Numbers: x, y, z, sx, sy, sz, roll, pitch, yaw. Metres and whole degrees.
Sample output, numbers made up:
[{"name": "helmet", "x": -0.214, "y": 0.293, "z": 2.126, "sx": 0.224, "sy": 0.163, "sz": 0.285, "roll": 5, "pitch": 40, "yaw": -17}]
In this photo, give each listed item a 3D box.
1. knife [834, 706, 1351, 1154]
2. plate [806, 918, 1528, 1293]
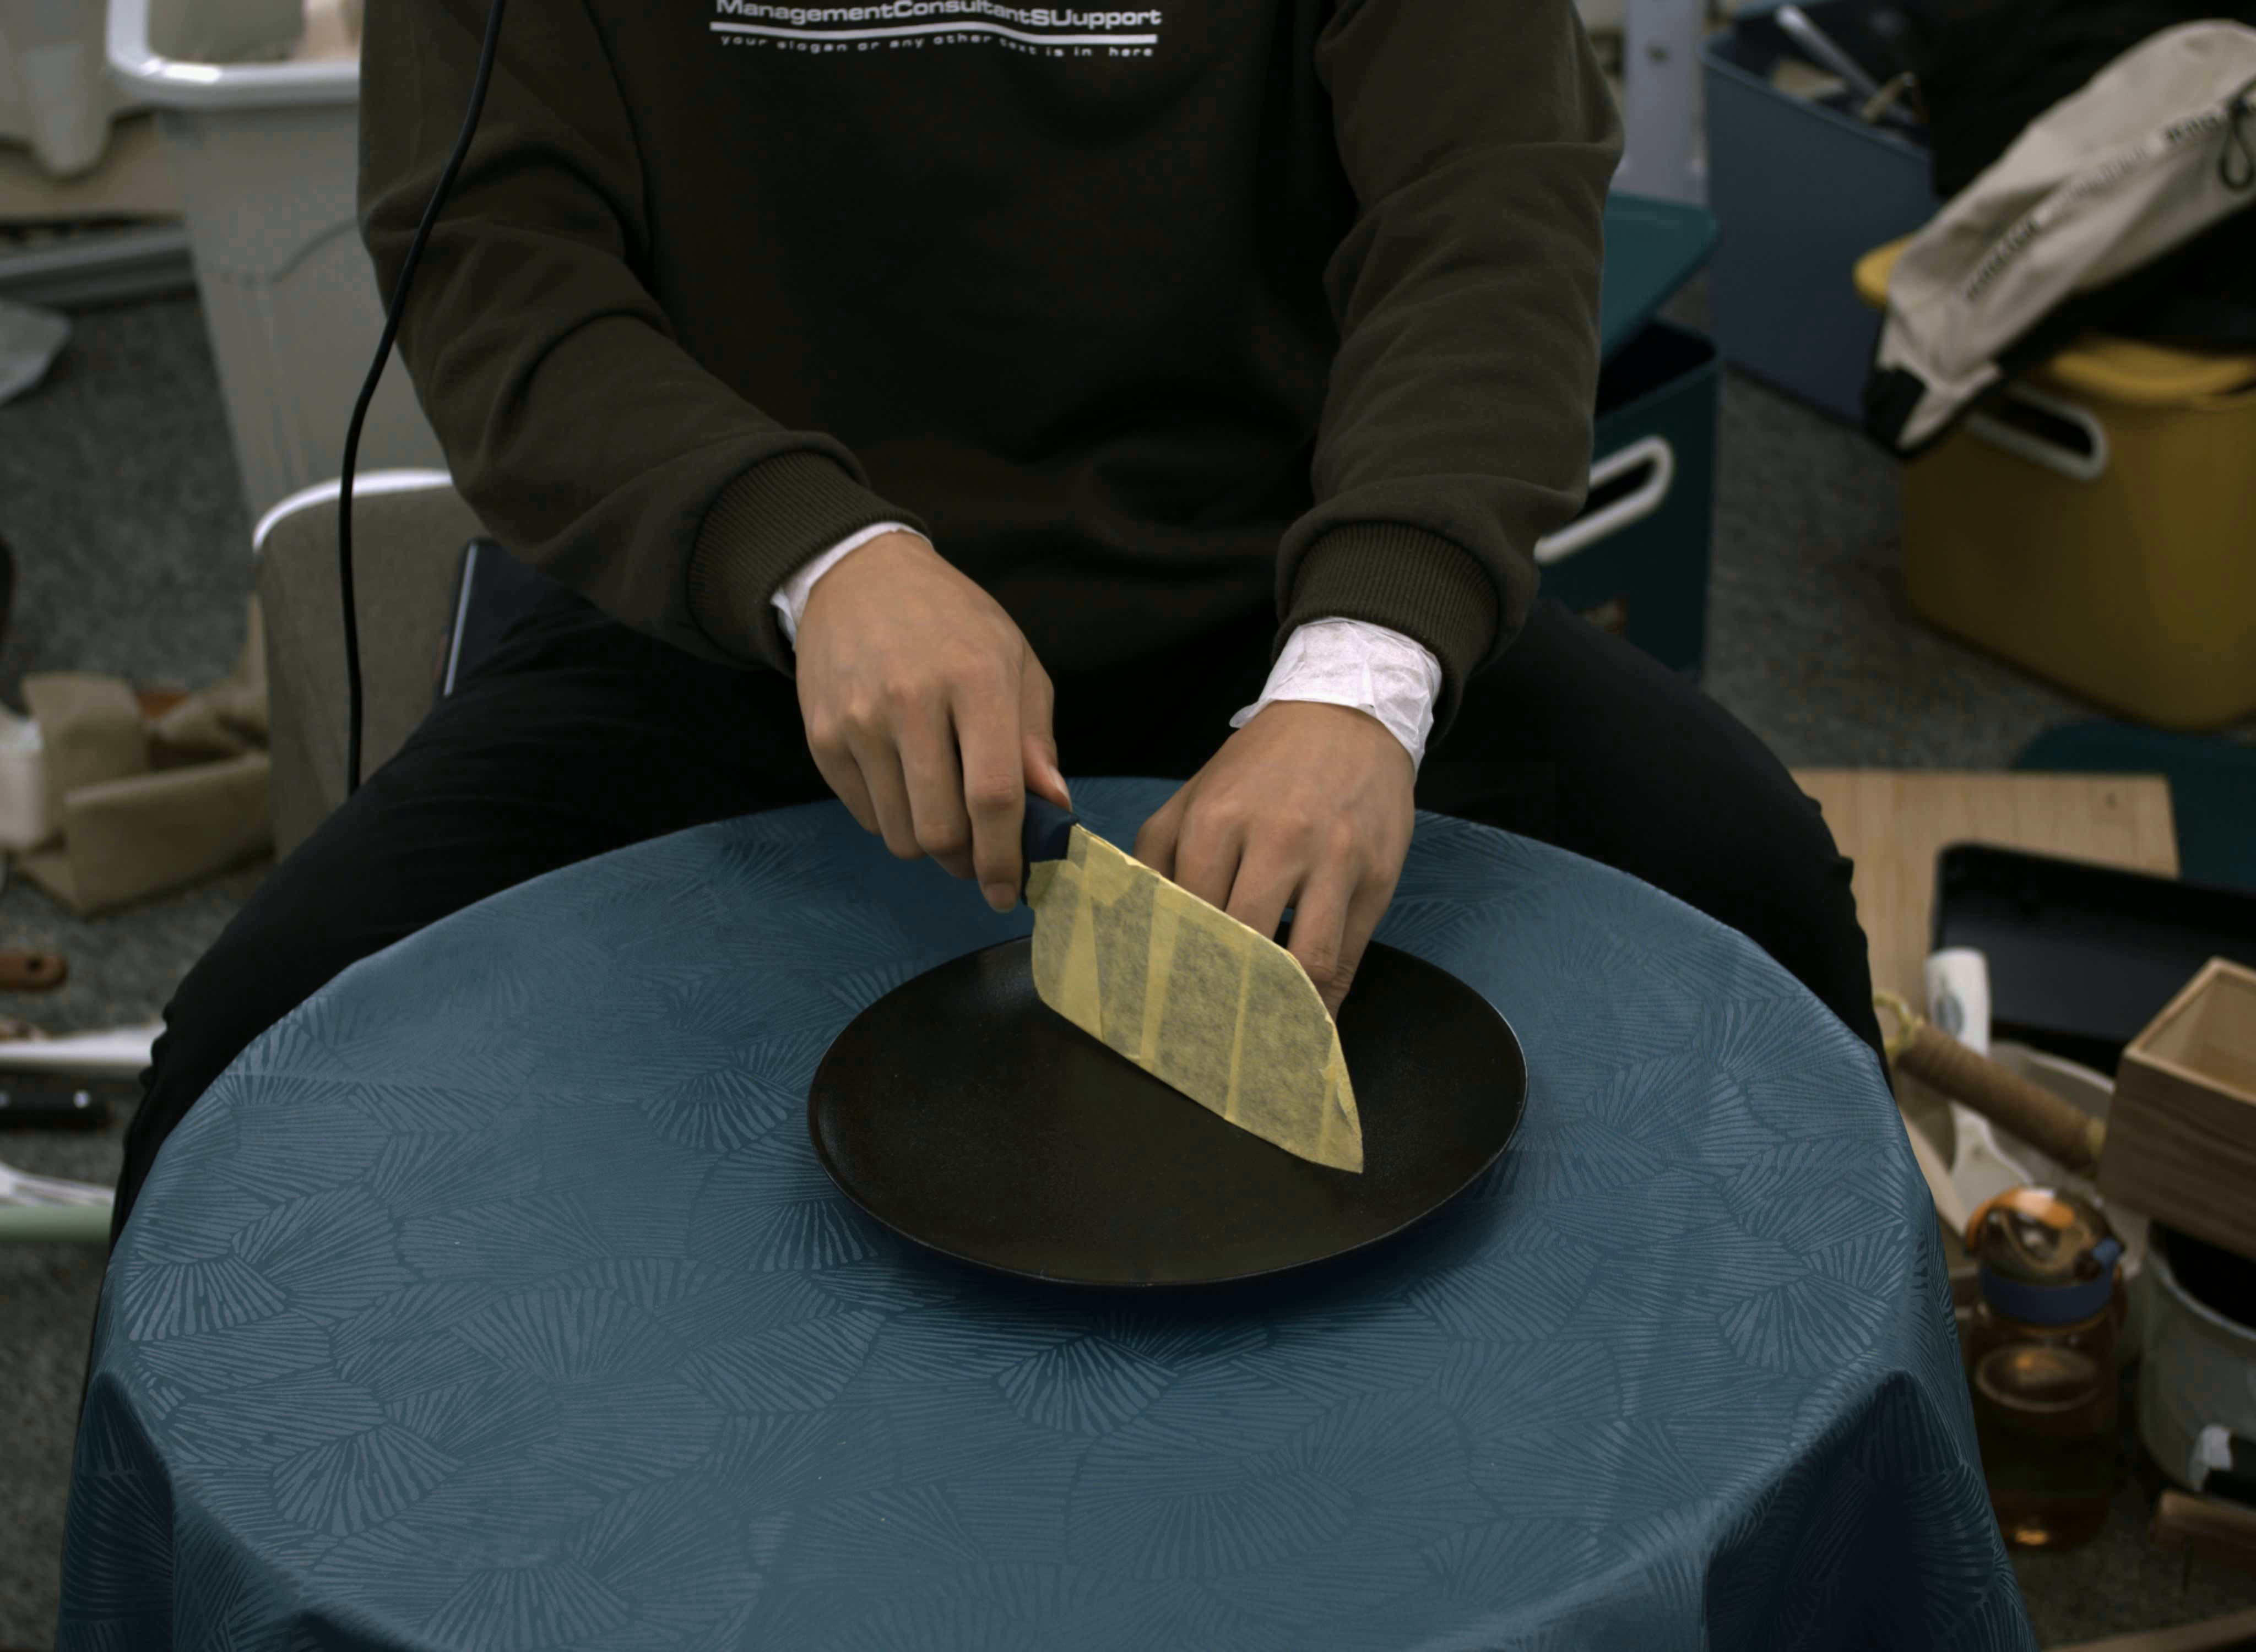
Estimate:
[{"name": "knife", "x": -0.014, "y": 0.033, "z": 1.926, "sx": 0.027, "sy": 0.080, "sz": 0.290, "roll": -9, "pitch": 31, "yaw": -38}, {"name": "plate", "x": 0.013, "y": 0.097, "z": 1.882, "sx": 0.243, "sy": 0.023, "sz": 0.248, "roll": -2, "pitch": 27, "yaw": 1}]
